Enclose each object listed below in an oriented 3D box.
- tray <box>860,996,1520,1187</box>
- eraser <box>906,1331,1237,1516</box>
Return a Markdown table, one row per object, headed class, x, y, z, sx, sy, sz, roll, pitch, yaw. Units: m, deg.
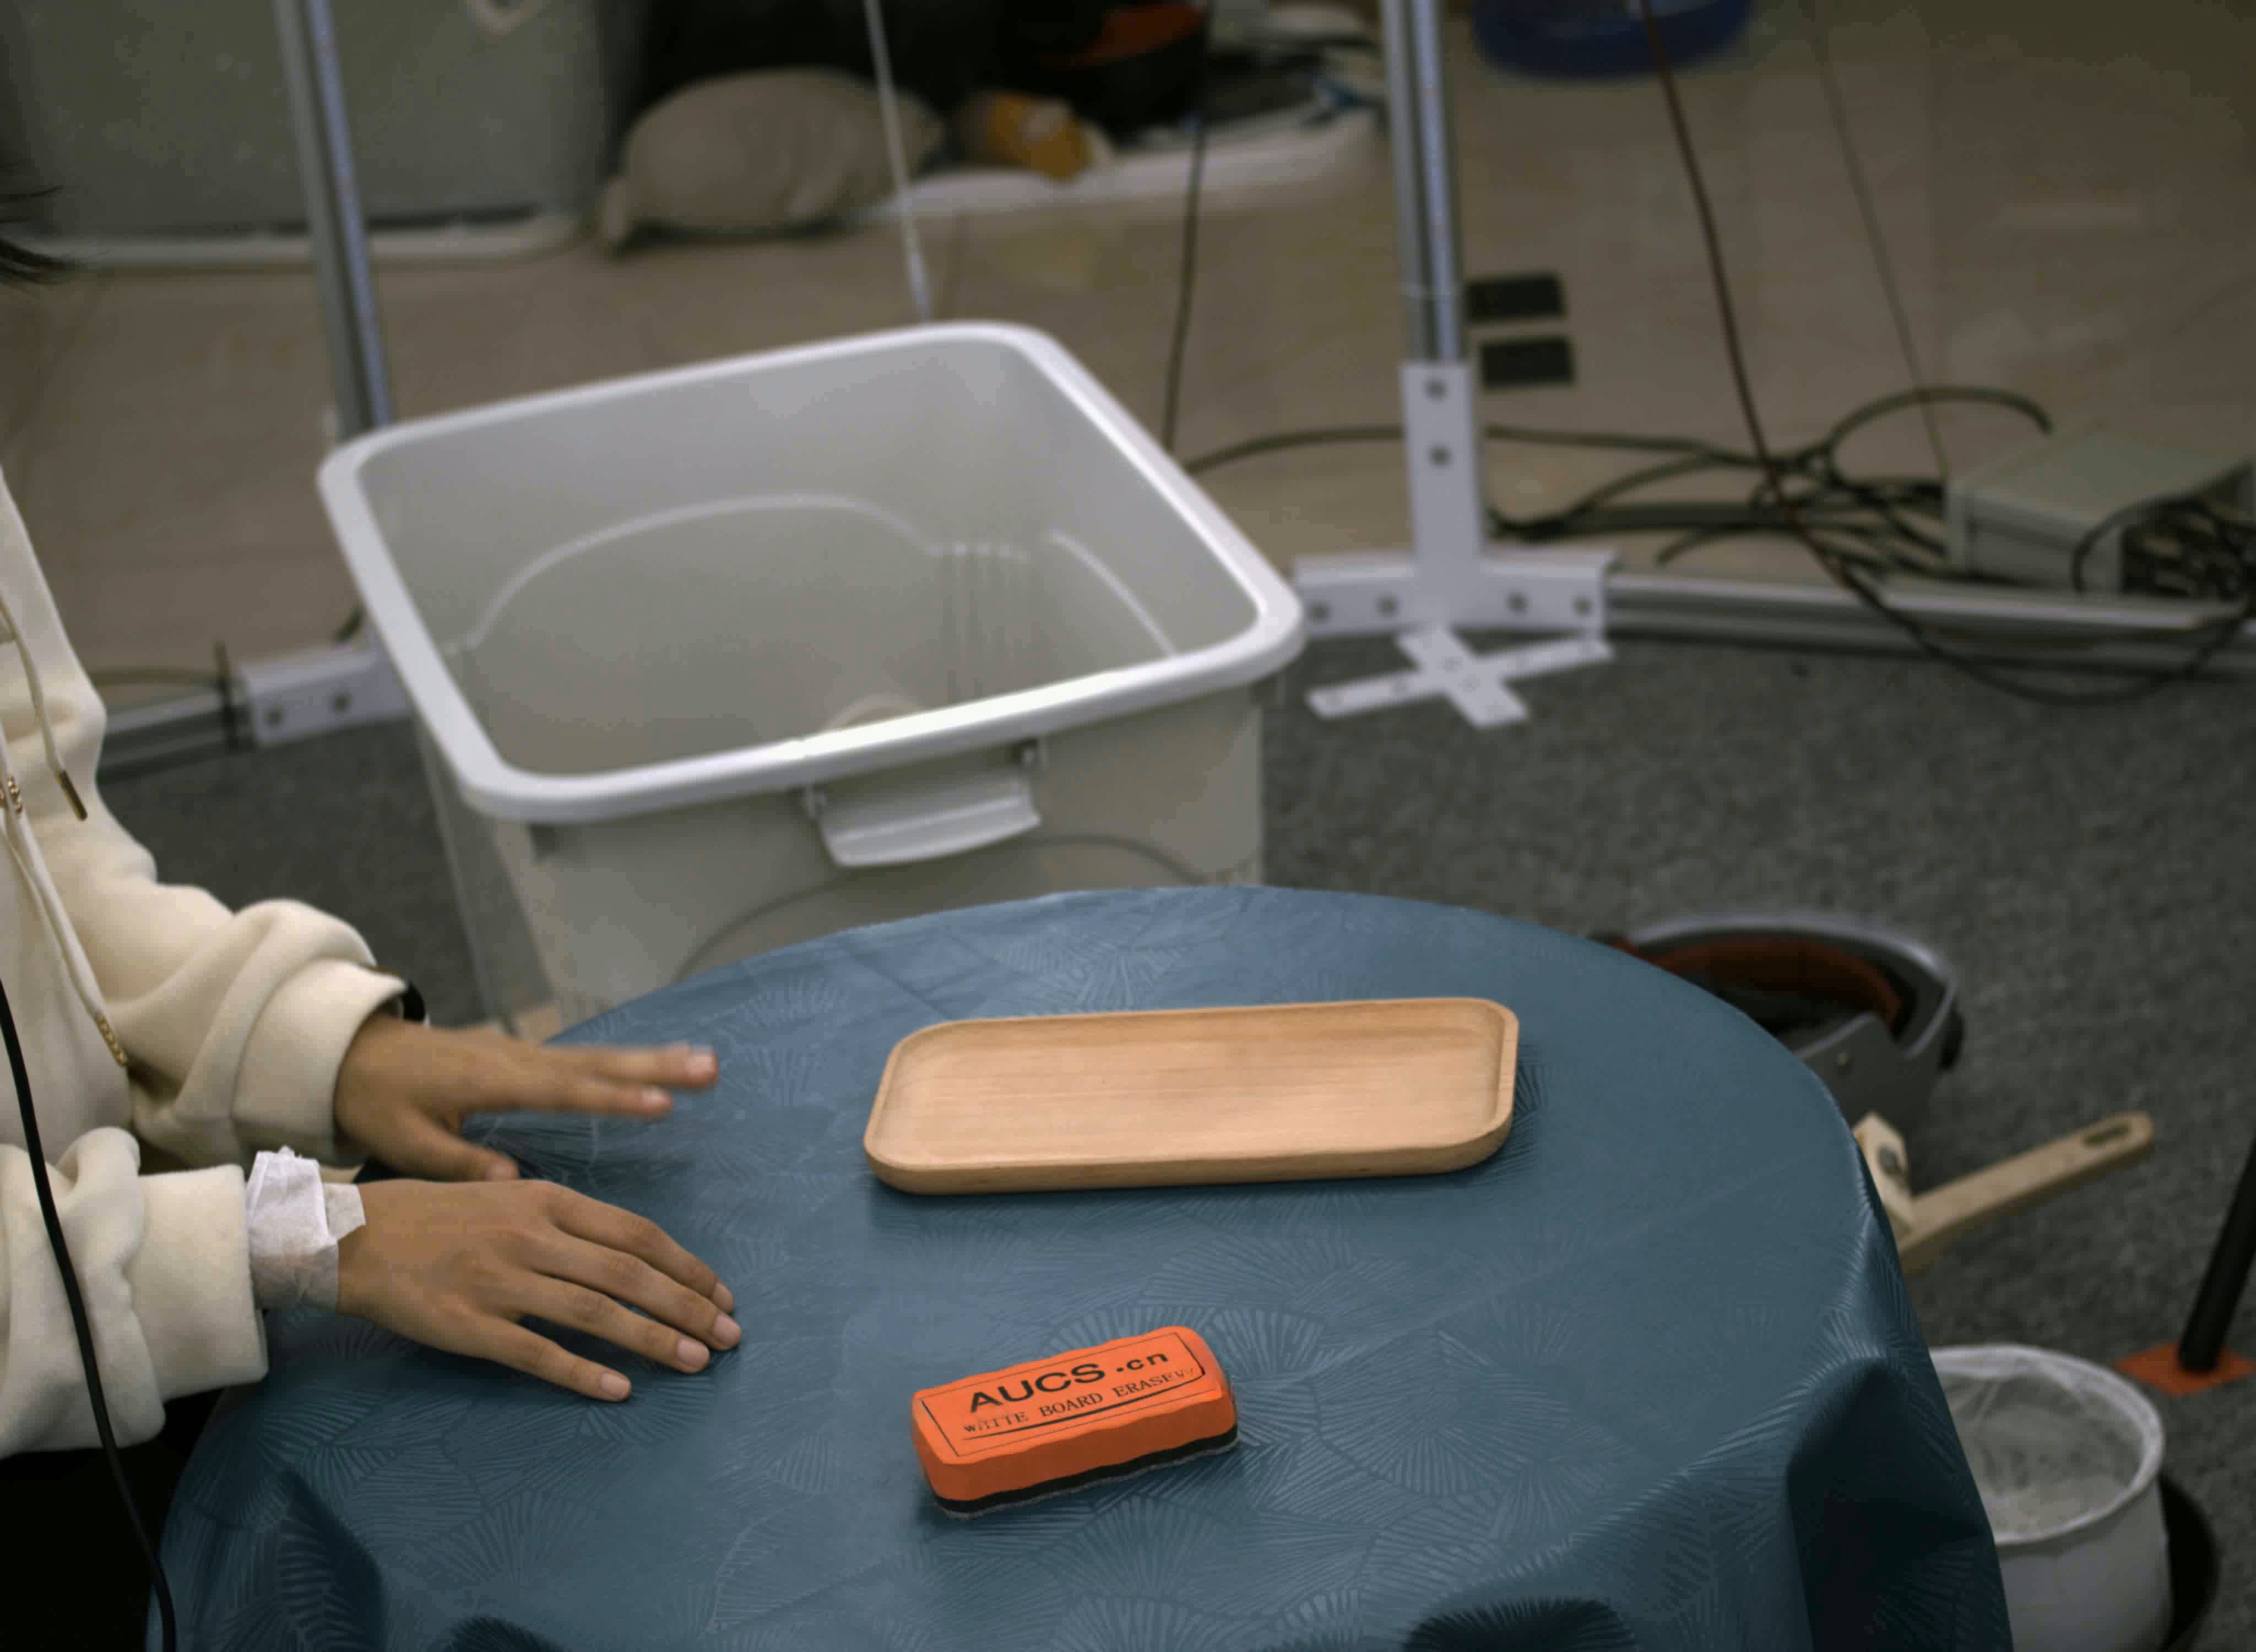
| class | x | y | z | sx | sy | sz | roll | pitch | yaw |
| --- | --- | --- | --- | --- | --- | --- | --- | --- | --- |
| tray | 0.025 | 0.103 | 2.197 | 0.250 | 0.023 | 0.129 | -2 | 22 | 9 |
| eraser | -0.020 | 0.208 | 1.978 | 0.108 | 0.023 | 0.058 | -12 | 27 | -14 |
